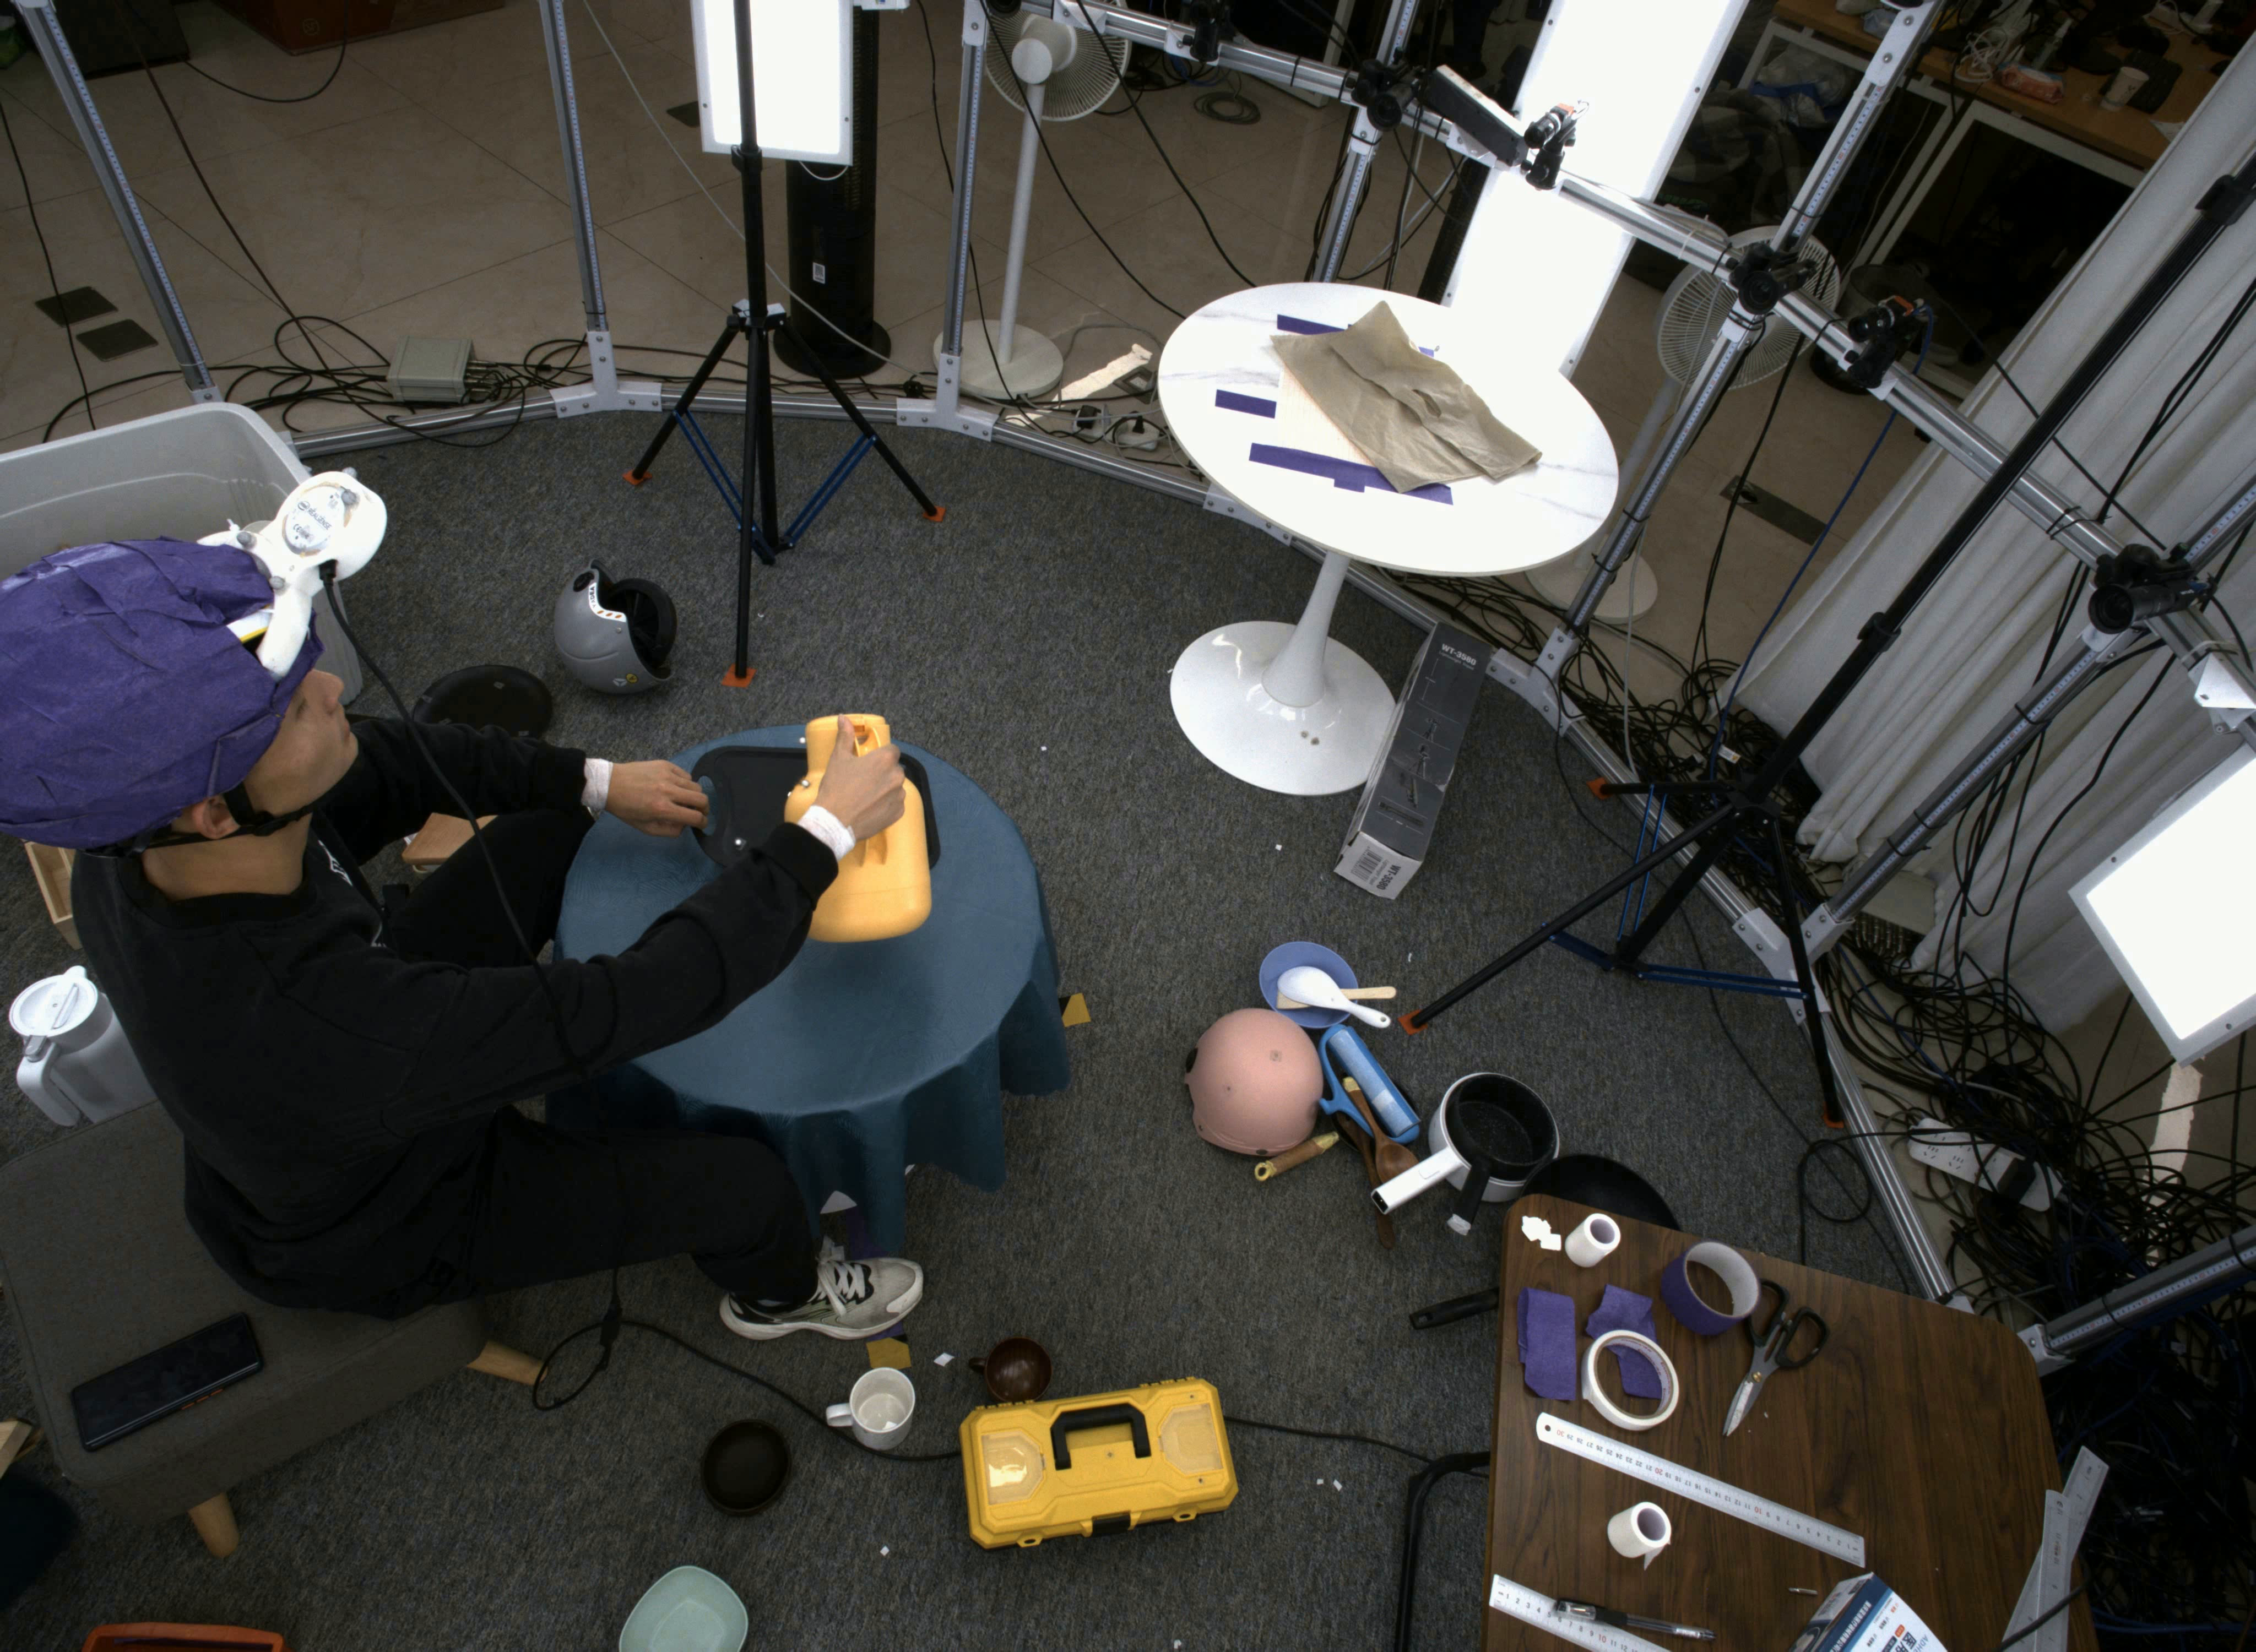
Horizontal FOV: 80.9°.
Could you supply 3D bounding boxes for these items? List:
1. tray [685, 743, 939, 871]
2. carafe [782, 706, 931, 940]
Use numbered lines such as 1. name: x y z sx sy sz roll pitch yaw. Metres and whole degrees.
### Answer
1. tray: -0.414 -0.027 1.707 0.329 0.010 0.206 2 52 -25
2. carafe: -0.313 -0.005 1.488 0.164 0.197 0.265 -8 97 -21
